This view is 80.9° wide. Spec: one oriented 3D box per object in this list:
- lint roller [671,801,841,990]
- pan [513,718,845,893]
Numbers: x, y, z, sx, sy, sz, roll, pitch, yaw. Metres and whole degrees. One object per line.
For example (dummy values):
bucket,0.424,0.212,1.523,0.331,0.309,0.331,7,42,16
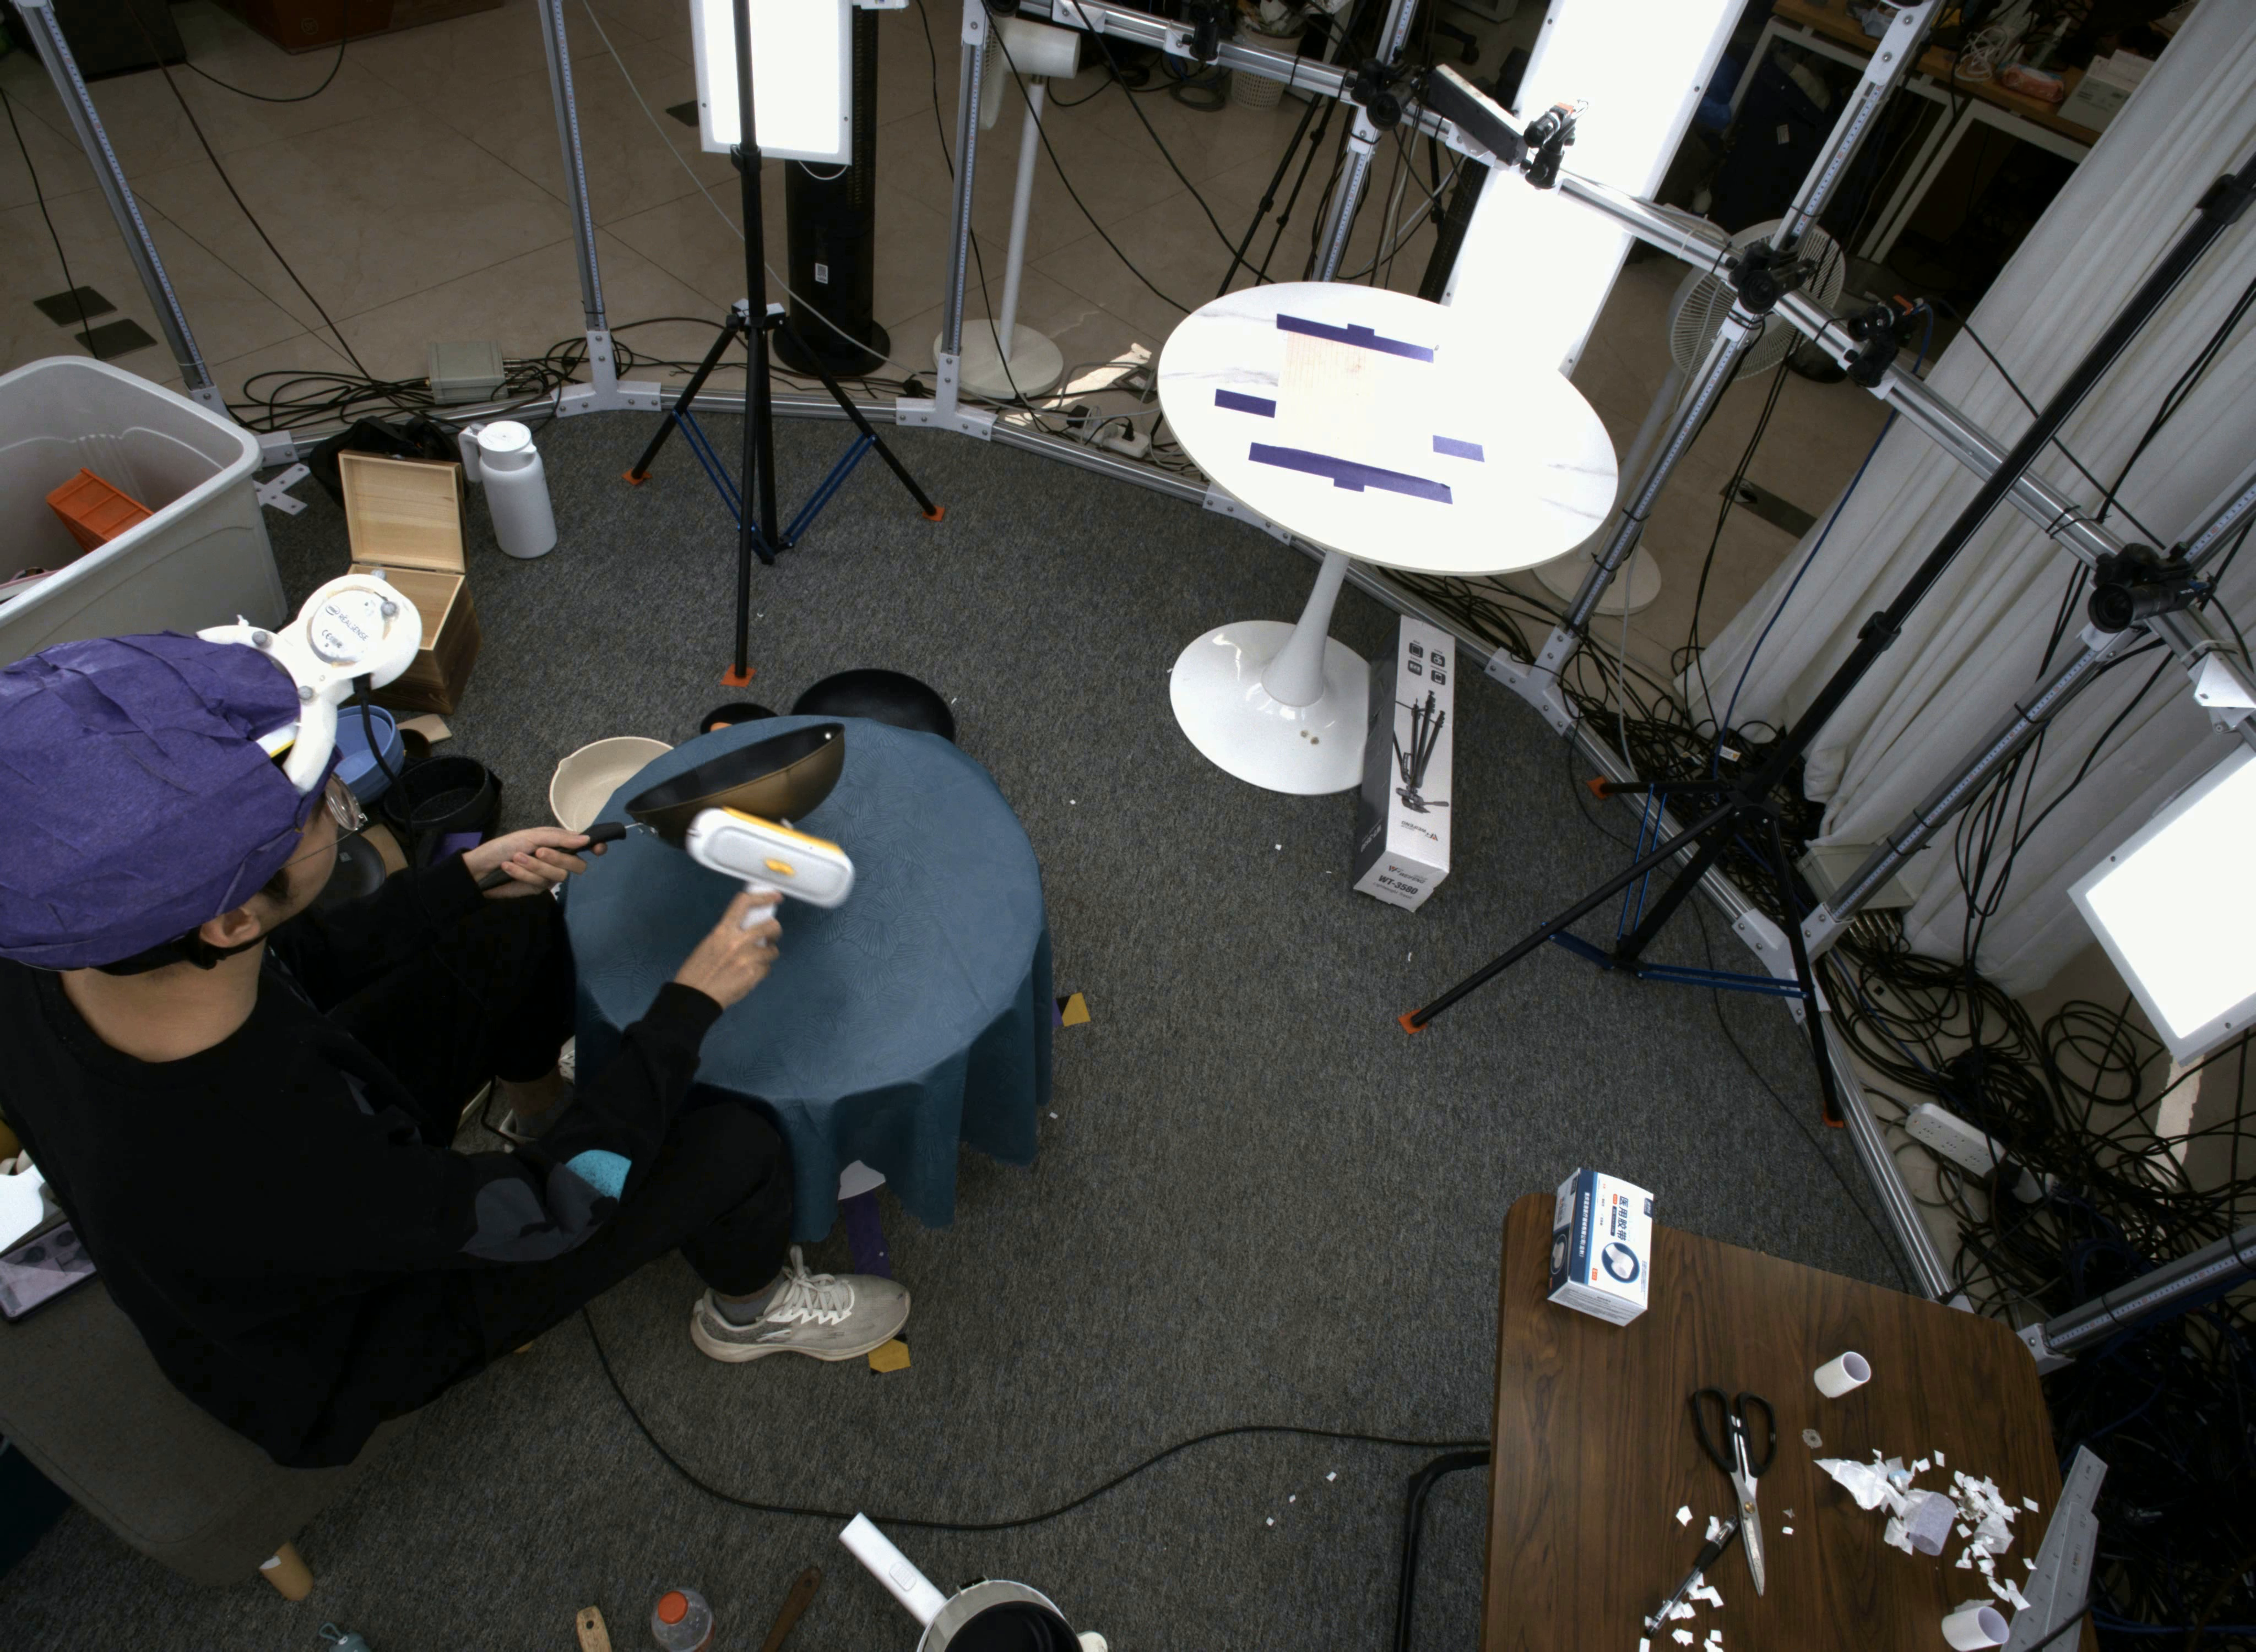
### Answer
lint roller,-0.426,0.083,1.451,0.198,0.194,0.071,15,2,-41
pan,-0.527,-0.002,1.516,0.465,0.279,0.089,-30,110,-34
